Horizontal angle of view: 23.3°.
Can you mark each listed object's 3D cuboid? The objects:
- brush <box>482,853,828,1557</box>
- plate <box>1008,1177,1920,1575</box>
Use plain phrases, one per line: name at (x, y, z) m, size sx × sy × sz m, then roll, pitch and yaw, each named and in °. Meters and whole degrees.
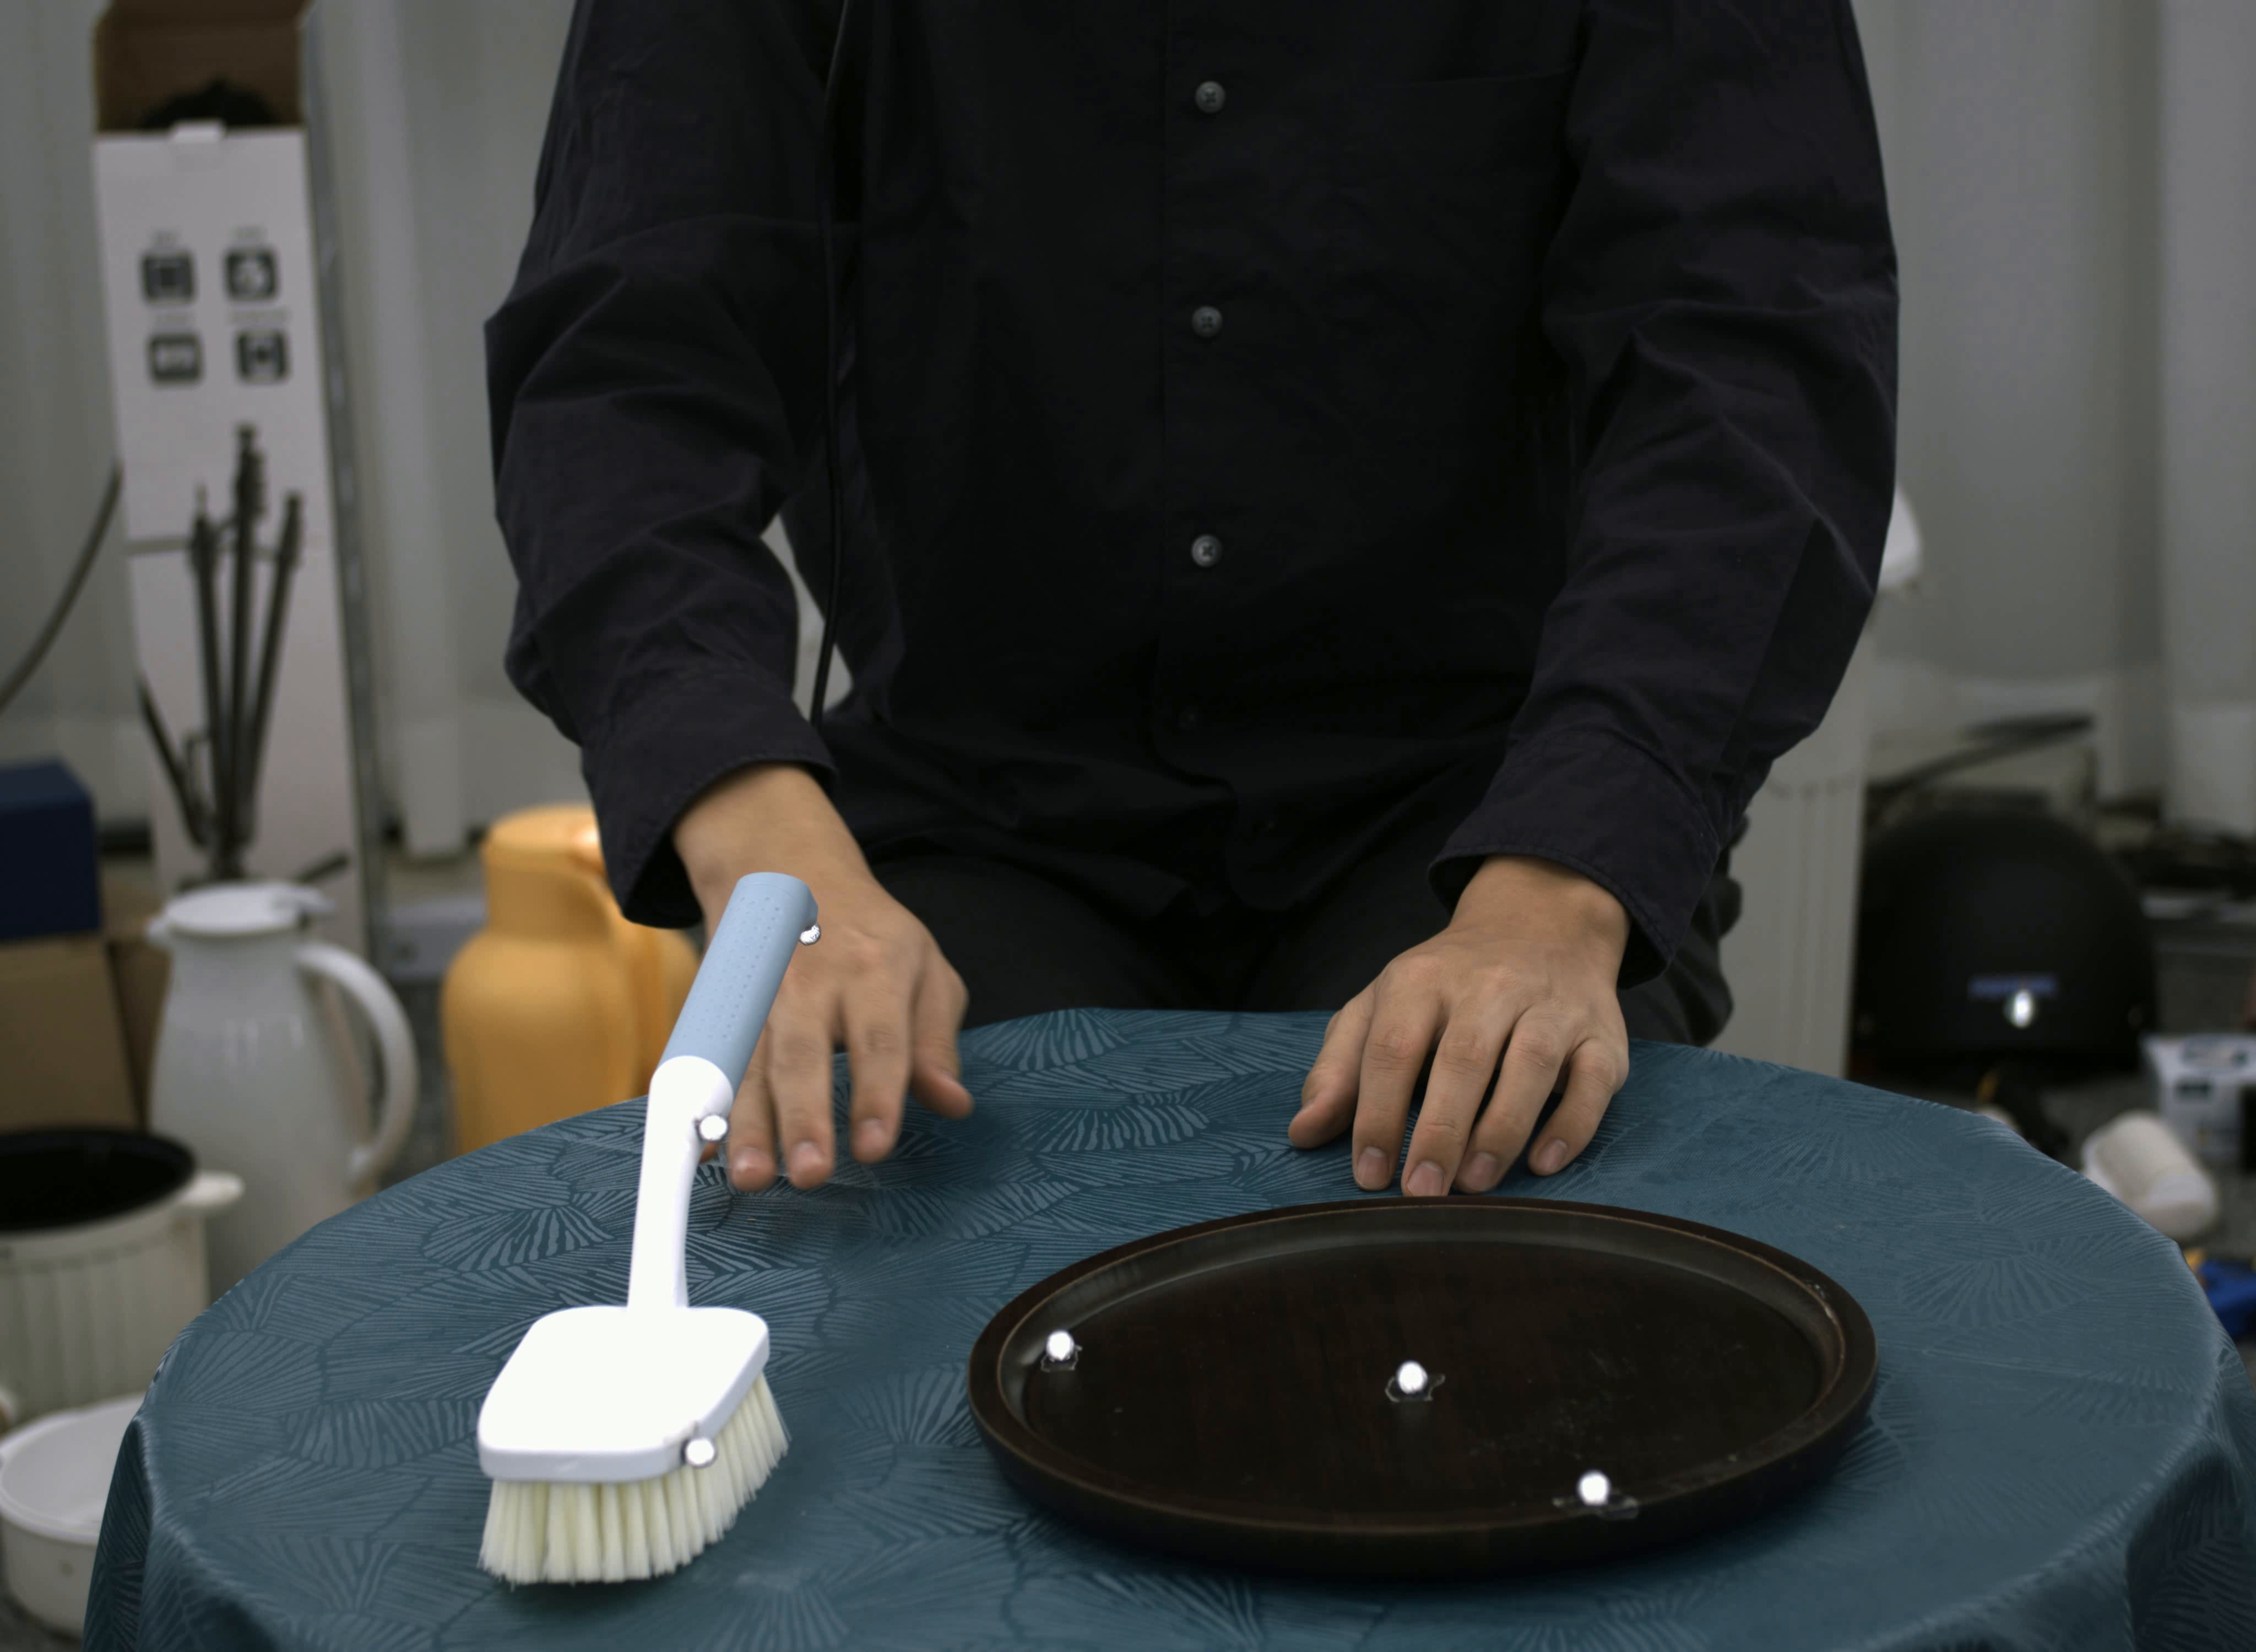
brush at (-0.119, 0.119, 1.565) m, size 0.083 × 0.084 × 0.329 m, roll 33°, pitch 27°, yaw -8°
plate at (0.093, 0.150, 1.519) m, size 0.254 × 0.029 × 0.256 m, roll -5°, pitch 16°, yaw 1°
